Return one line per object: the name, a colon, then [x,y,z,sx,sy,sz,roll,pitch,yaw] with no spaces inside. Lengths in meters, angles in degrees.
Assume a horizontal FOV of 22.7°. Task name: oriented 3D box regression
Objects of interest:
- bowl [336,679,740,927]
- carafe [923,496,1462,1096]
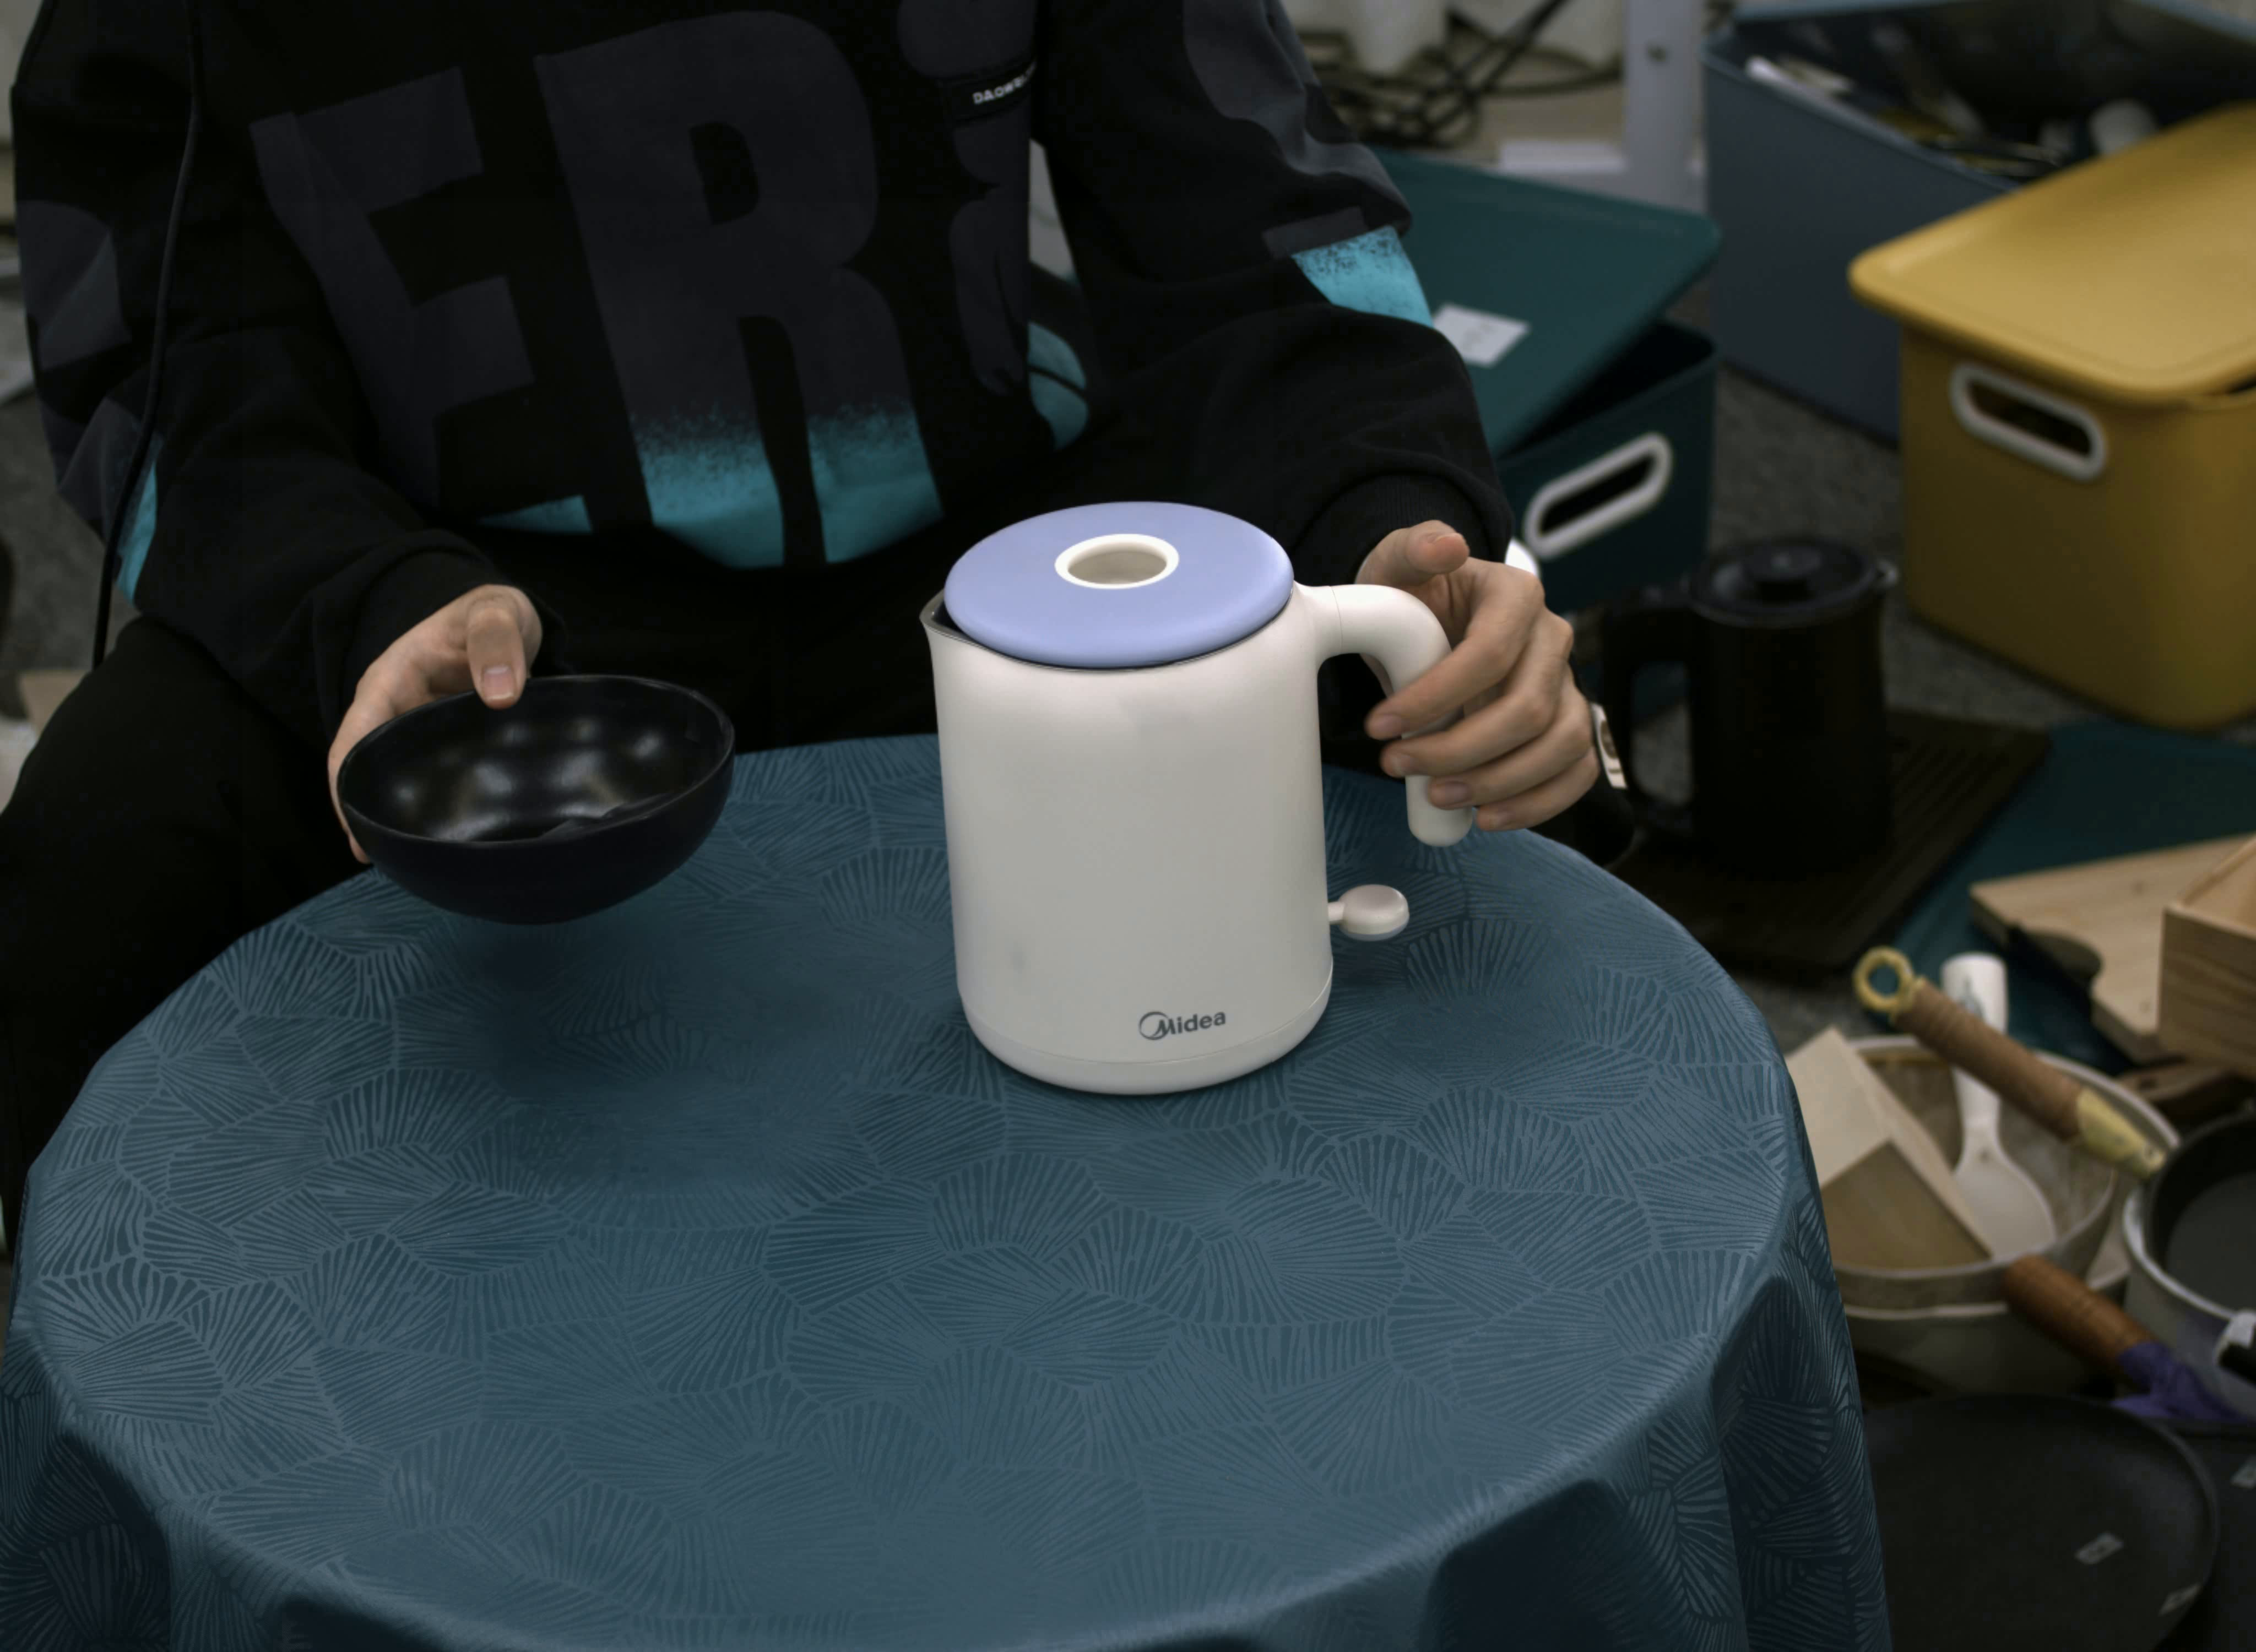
bowl: [-0.200,-0.001,1.936,0.139,0.049,0.142,-4,23,2]
carafe: [0.025,-0.014,1.936,0.191,0.180,0.134,-7,28,-12]
